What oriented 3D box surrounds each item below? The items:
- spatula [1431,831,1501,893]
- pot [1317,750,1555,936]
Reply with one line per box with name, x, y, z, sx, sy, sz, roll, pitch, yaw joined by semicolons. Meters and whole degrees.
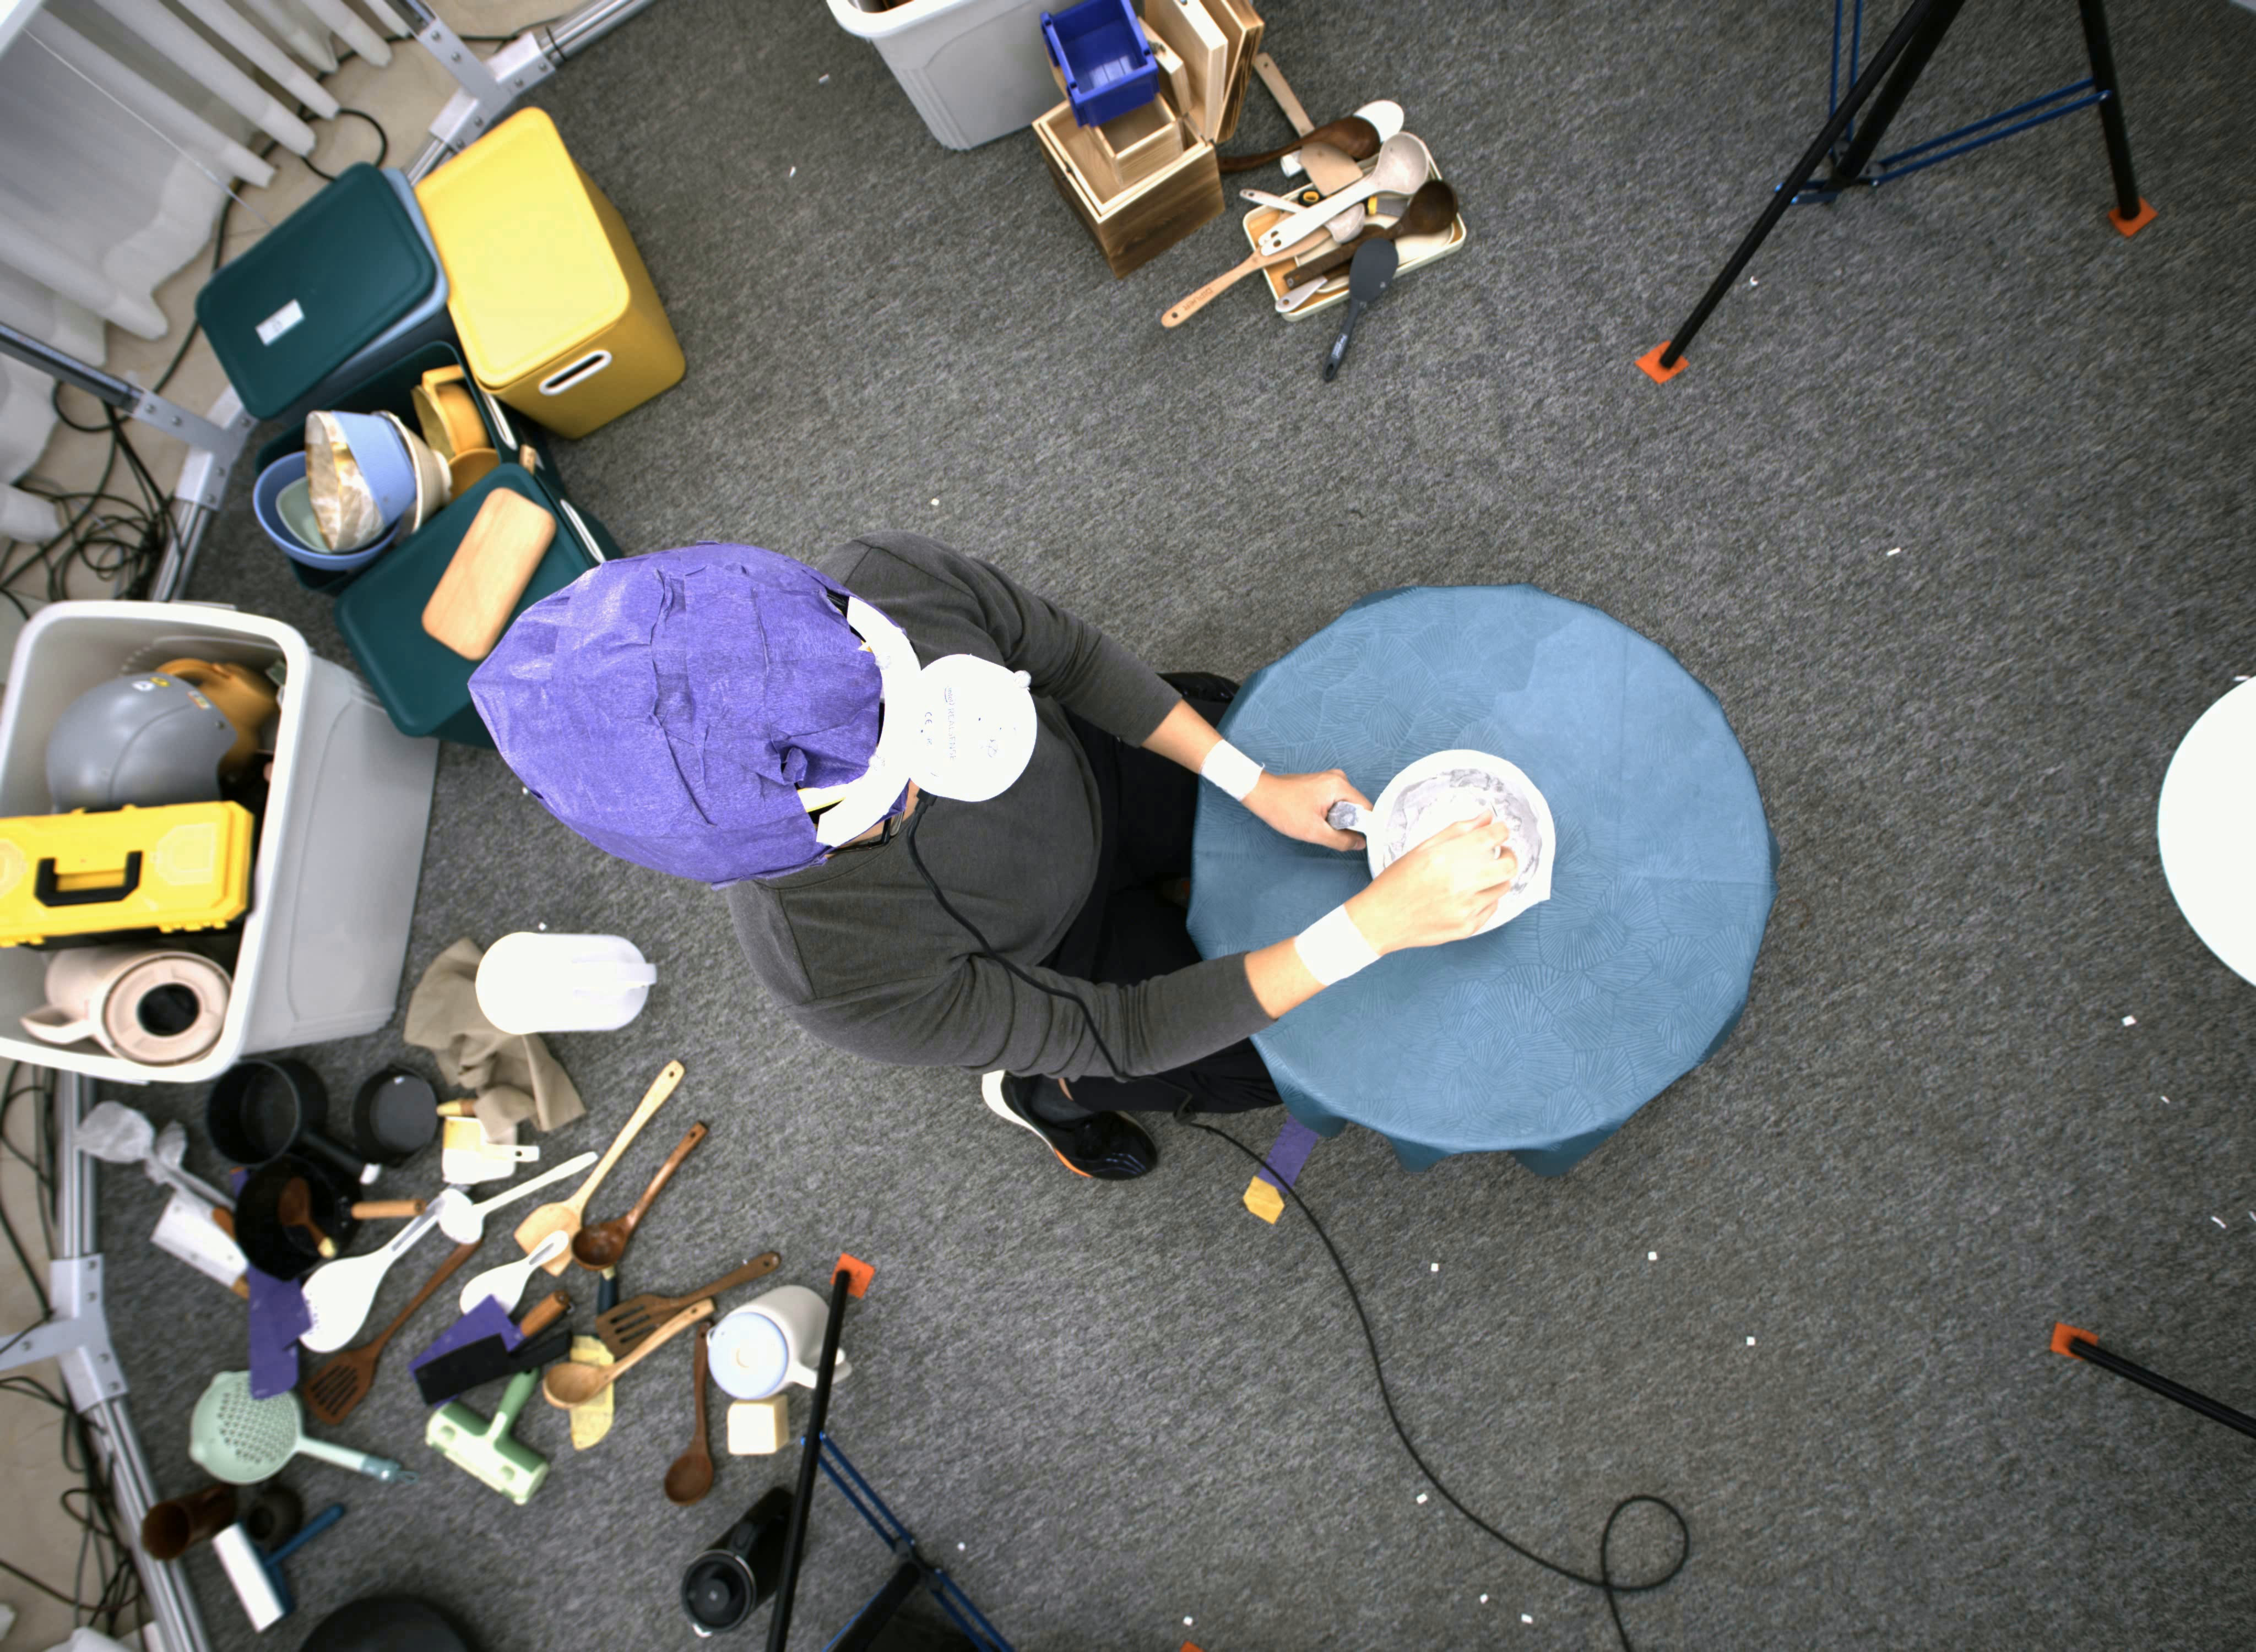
spatula;0.310;0.039;1.253;0.059;0.288;0.032;-3;81;10
pot;0.304;0.013;1.388;0.234;0.137;0.178;13;88;11
